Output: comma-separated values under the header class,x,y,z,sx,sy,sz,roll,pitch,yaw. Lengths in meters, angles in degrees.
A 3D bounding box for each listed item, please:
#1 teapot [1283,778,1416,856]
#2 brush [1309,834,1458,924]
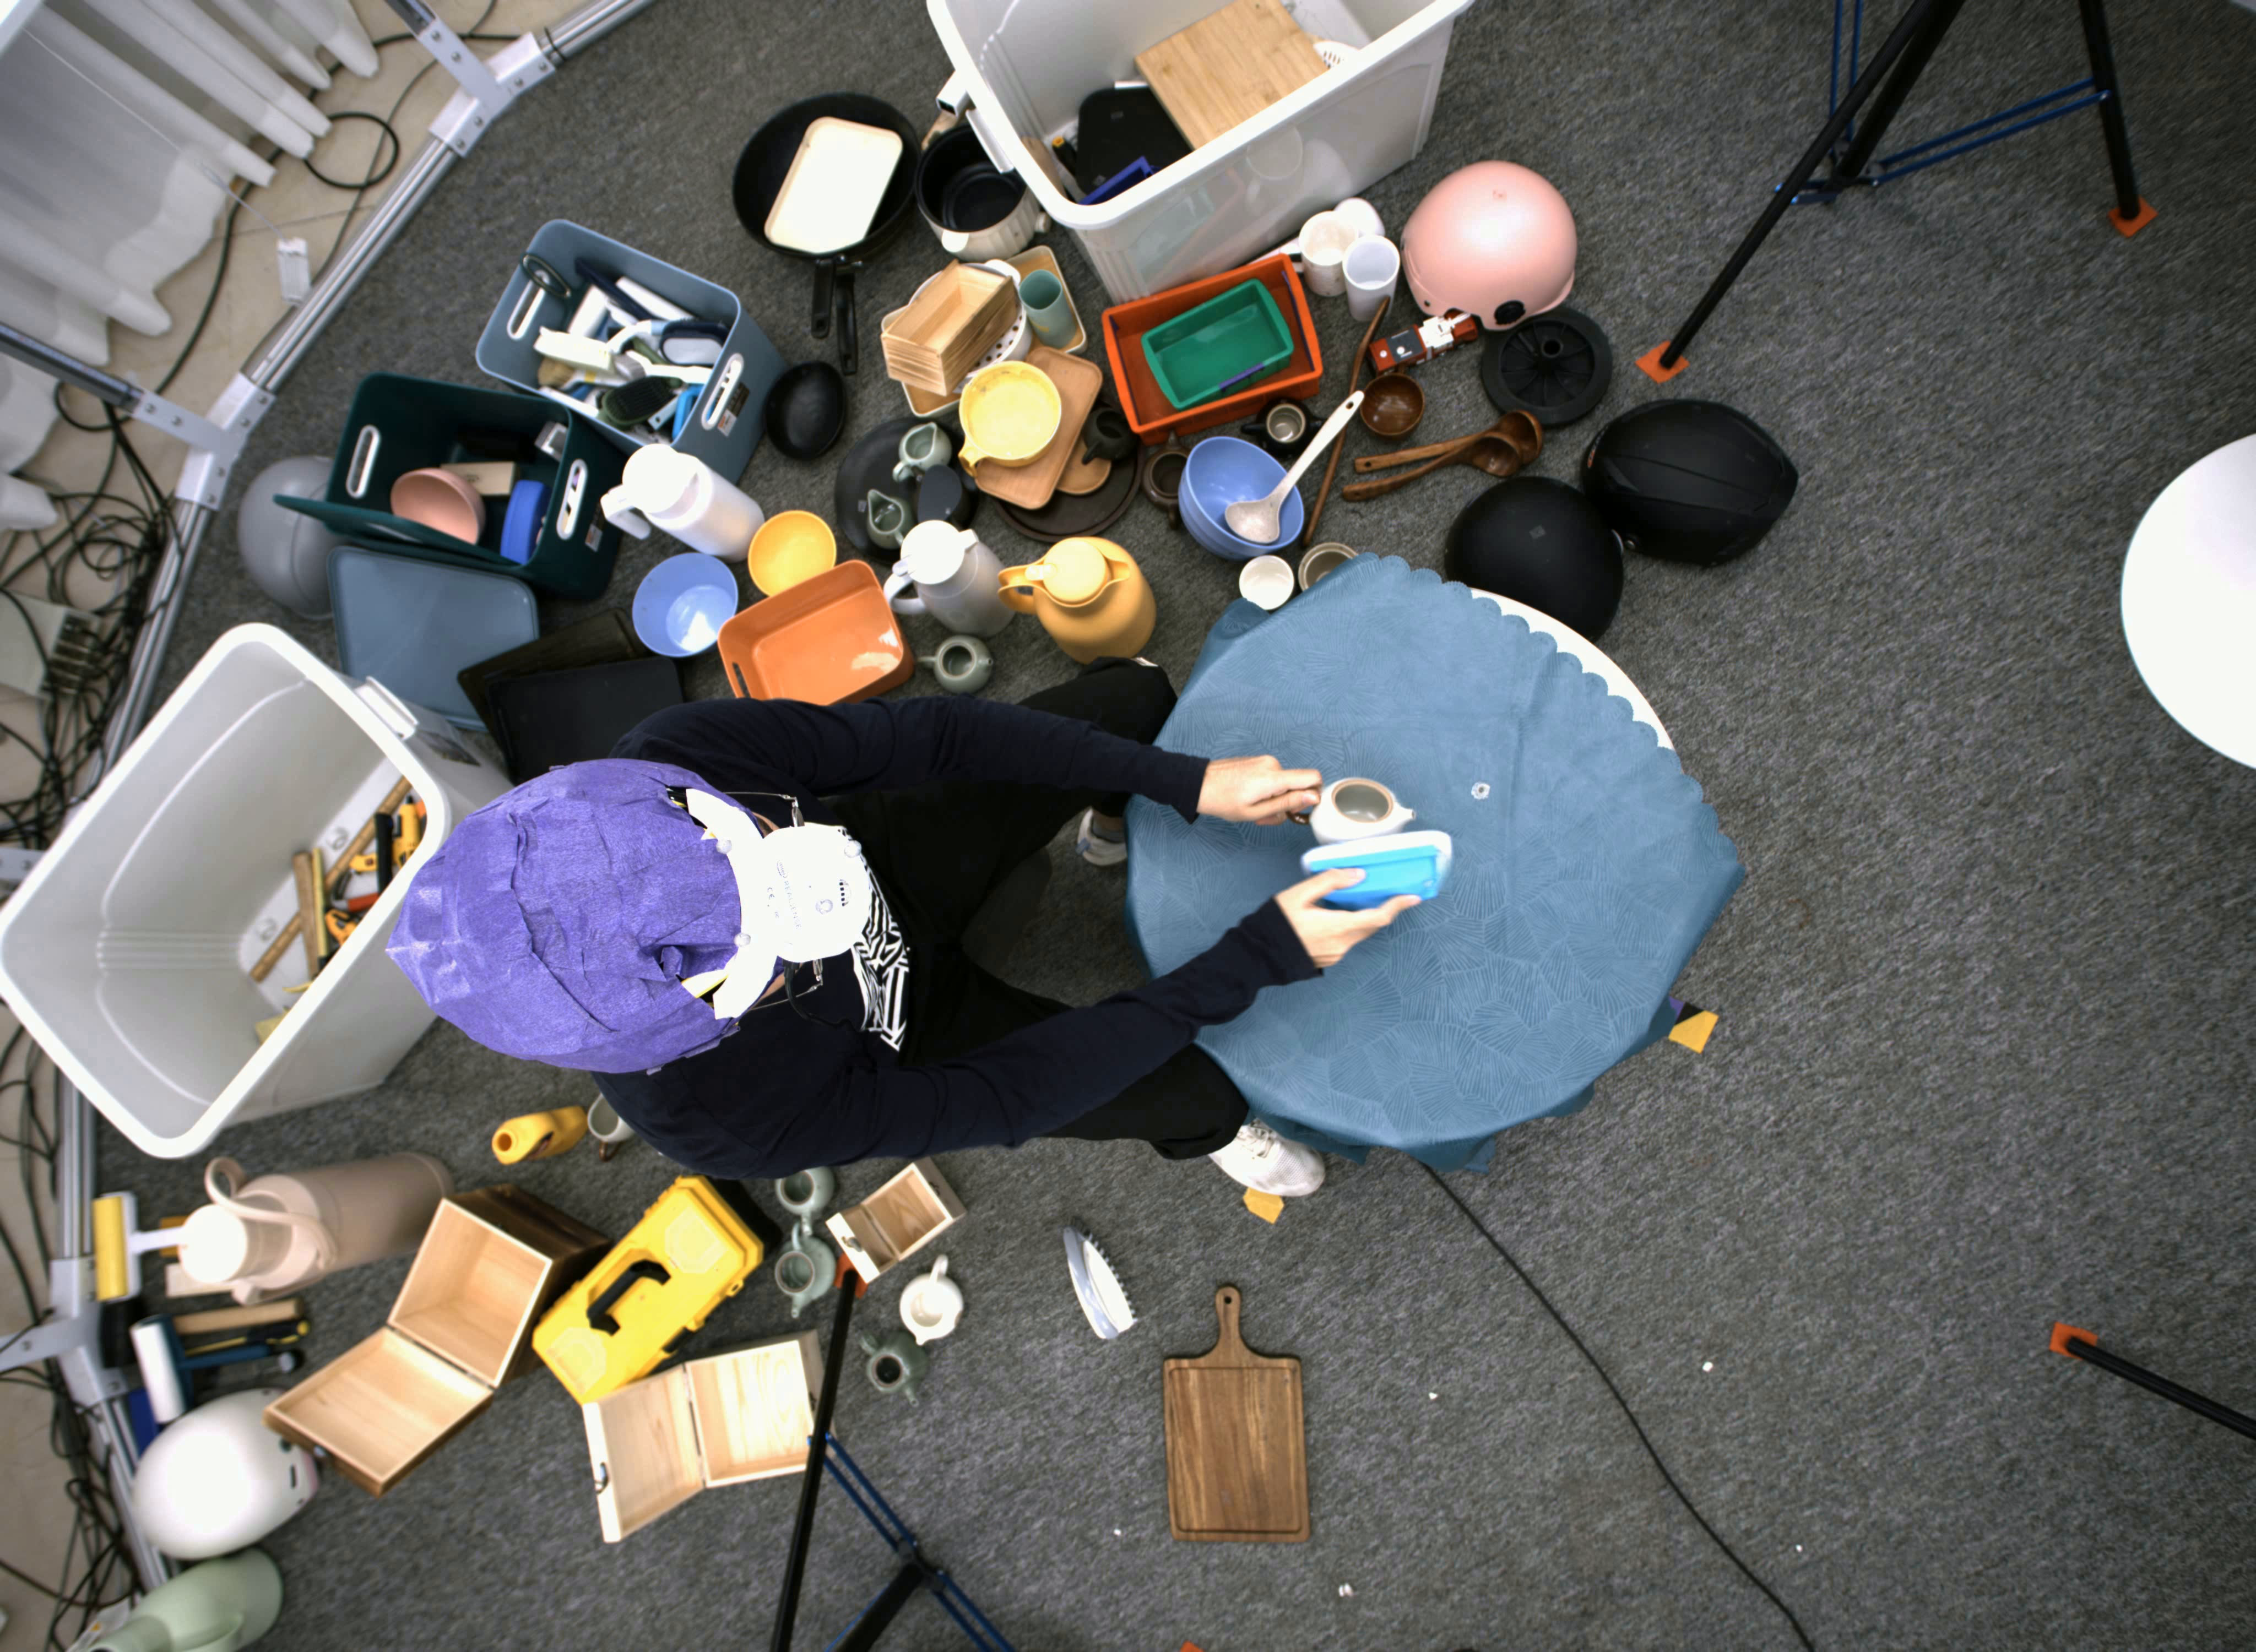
class,x,y,z,sx,sy,sz,roll,pitch,yaw
teapot,0.216,-0.008,1.359,0.128,0.061,0.089,12,51,7
brush,0.248,0.055,1.321,0.144,0.085,0.054,-14,53,7
